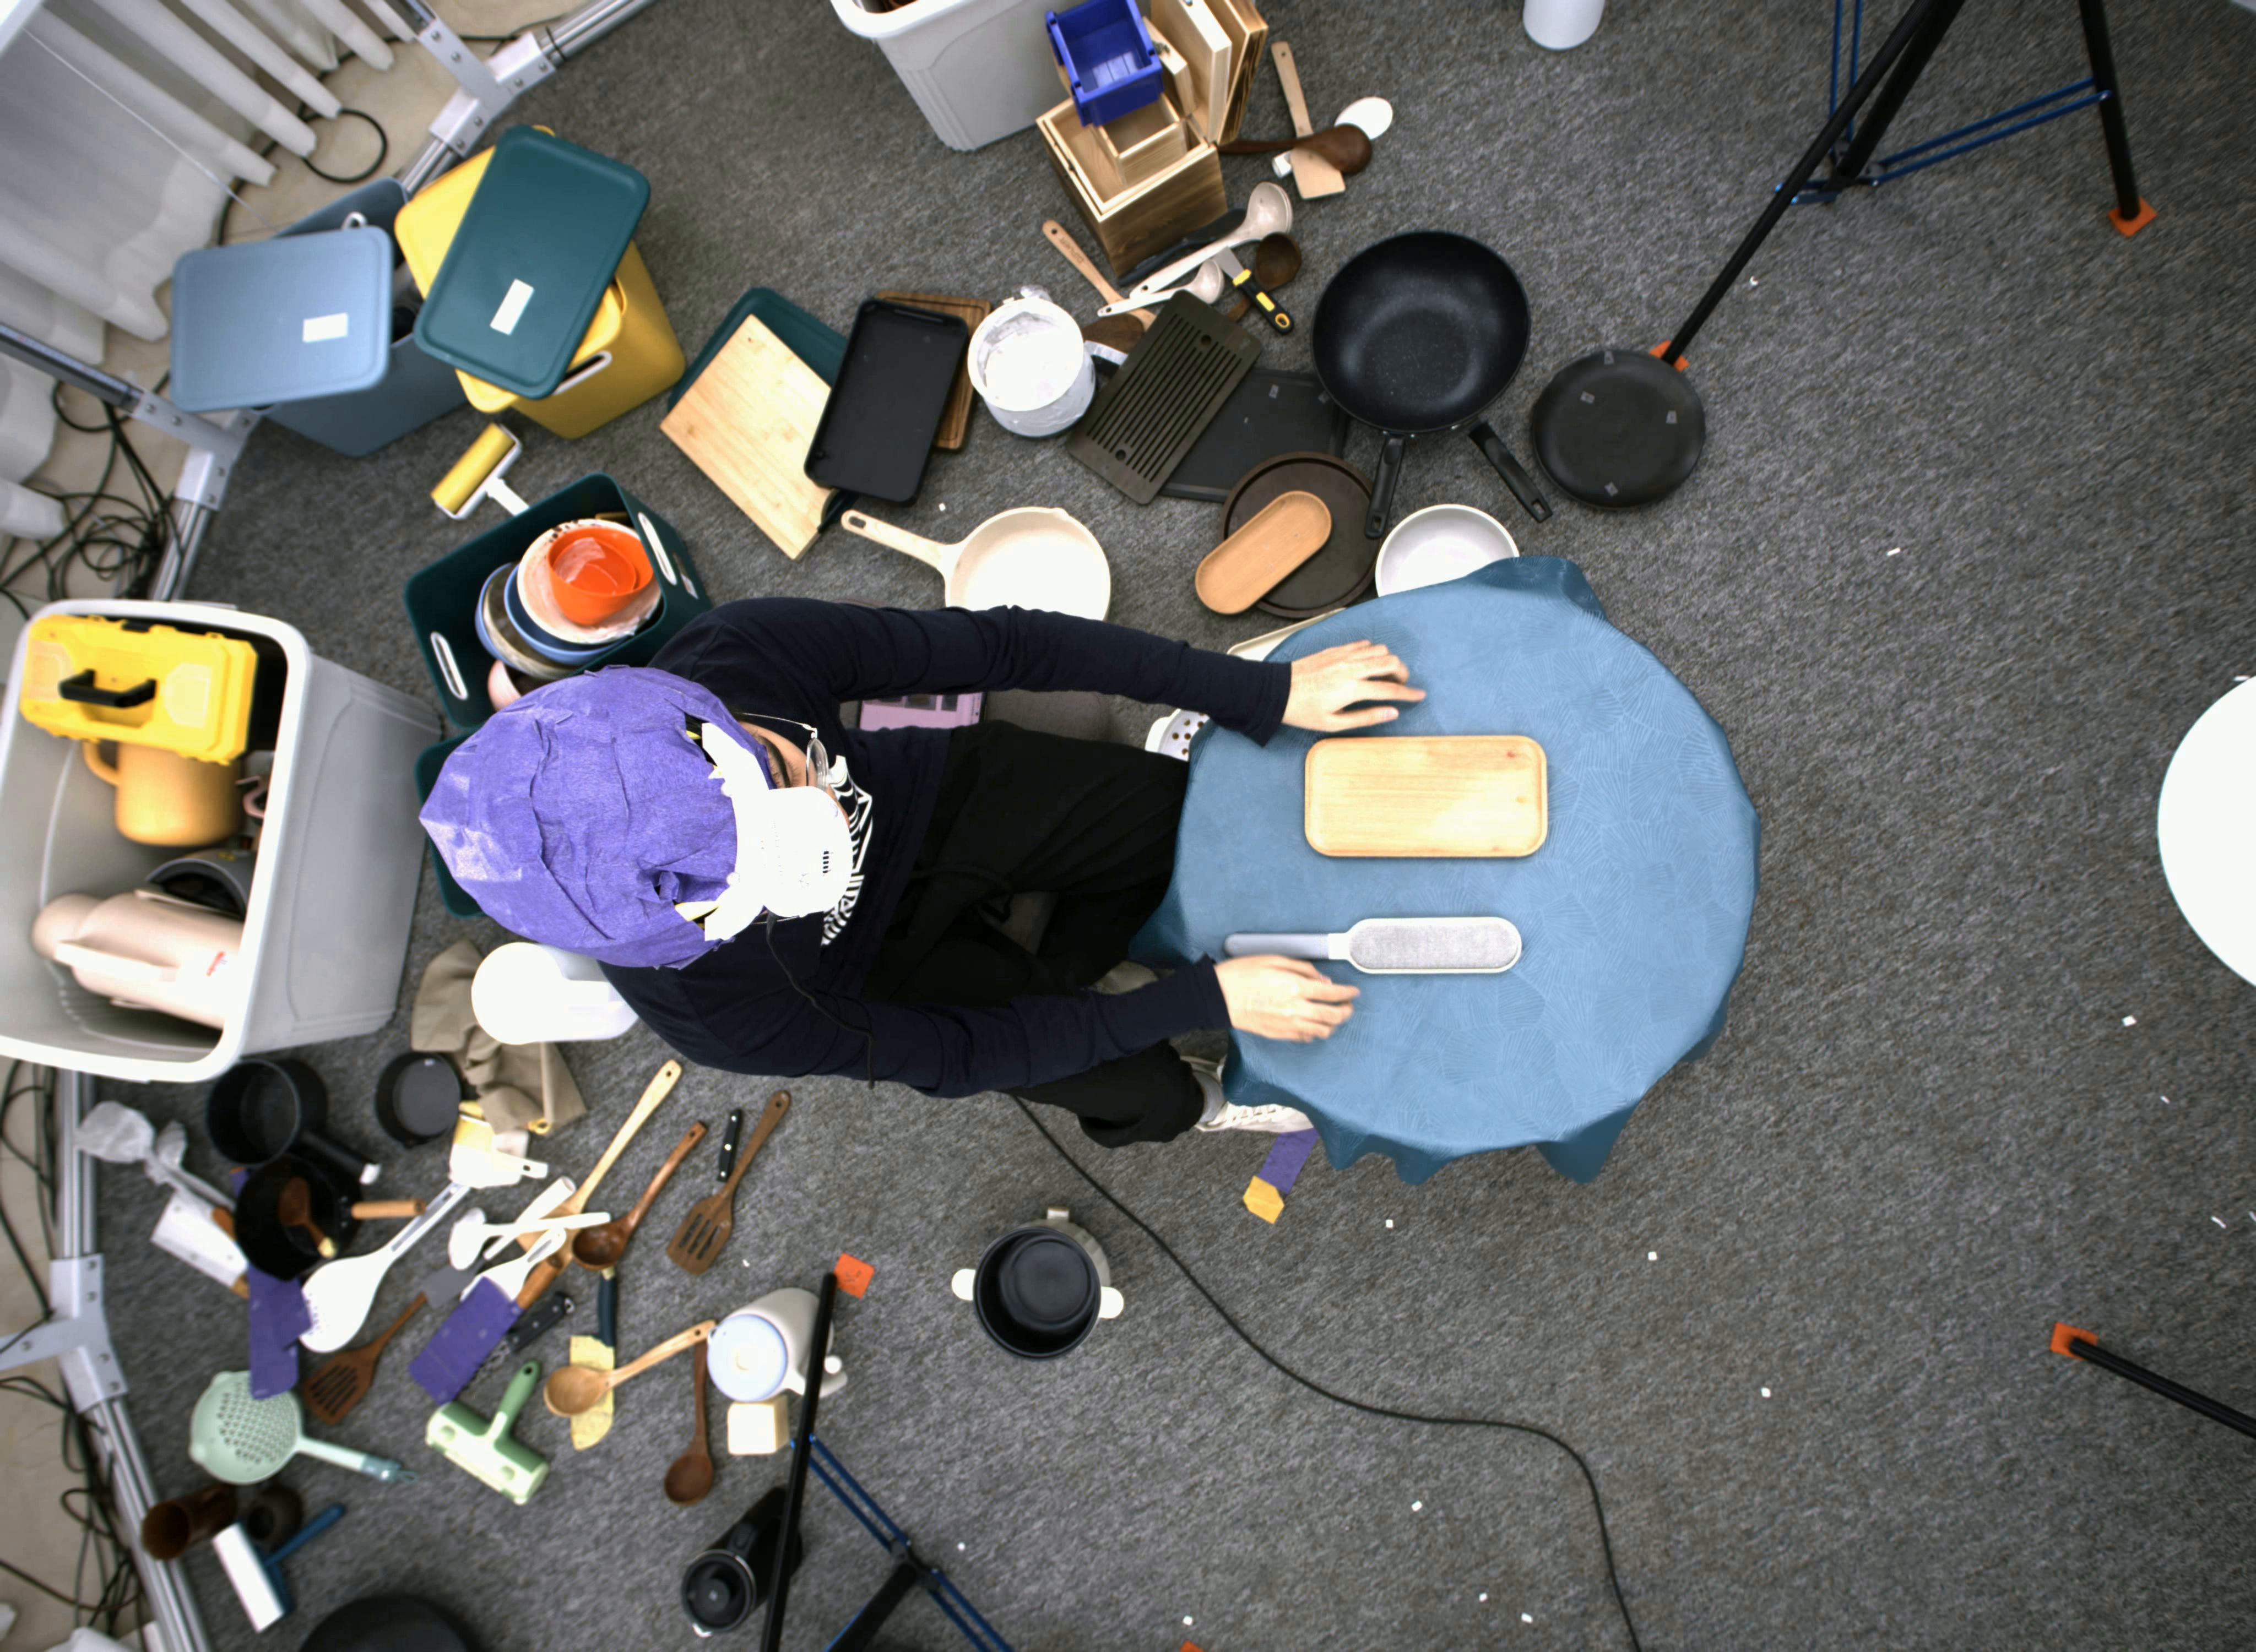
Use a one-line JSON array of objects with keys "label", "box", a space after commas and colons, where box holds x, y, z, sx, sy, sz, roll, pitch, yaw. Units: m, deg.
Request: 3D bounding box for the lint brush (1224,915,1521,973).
[{"label": "lint brush", "box": [0.254, 0.122, 1.446, 0.310, 0.021, 0.060, -1, 91, 11]}]

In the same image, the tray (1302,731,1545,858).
[{"label": "tray", "box": [0.310, -0.035, 1.450, 0.251, 0.023, 0.130, 2, 85, 11]}]
